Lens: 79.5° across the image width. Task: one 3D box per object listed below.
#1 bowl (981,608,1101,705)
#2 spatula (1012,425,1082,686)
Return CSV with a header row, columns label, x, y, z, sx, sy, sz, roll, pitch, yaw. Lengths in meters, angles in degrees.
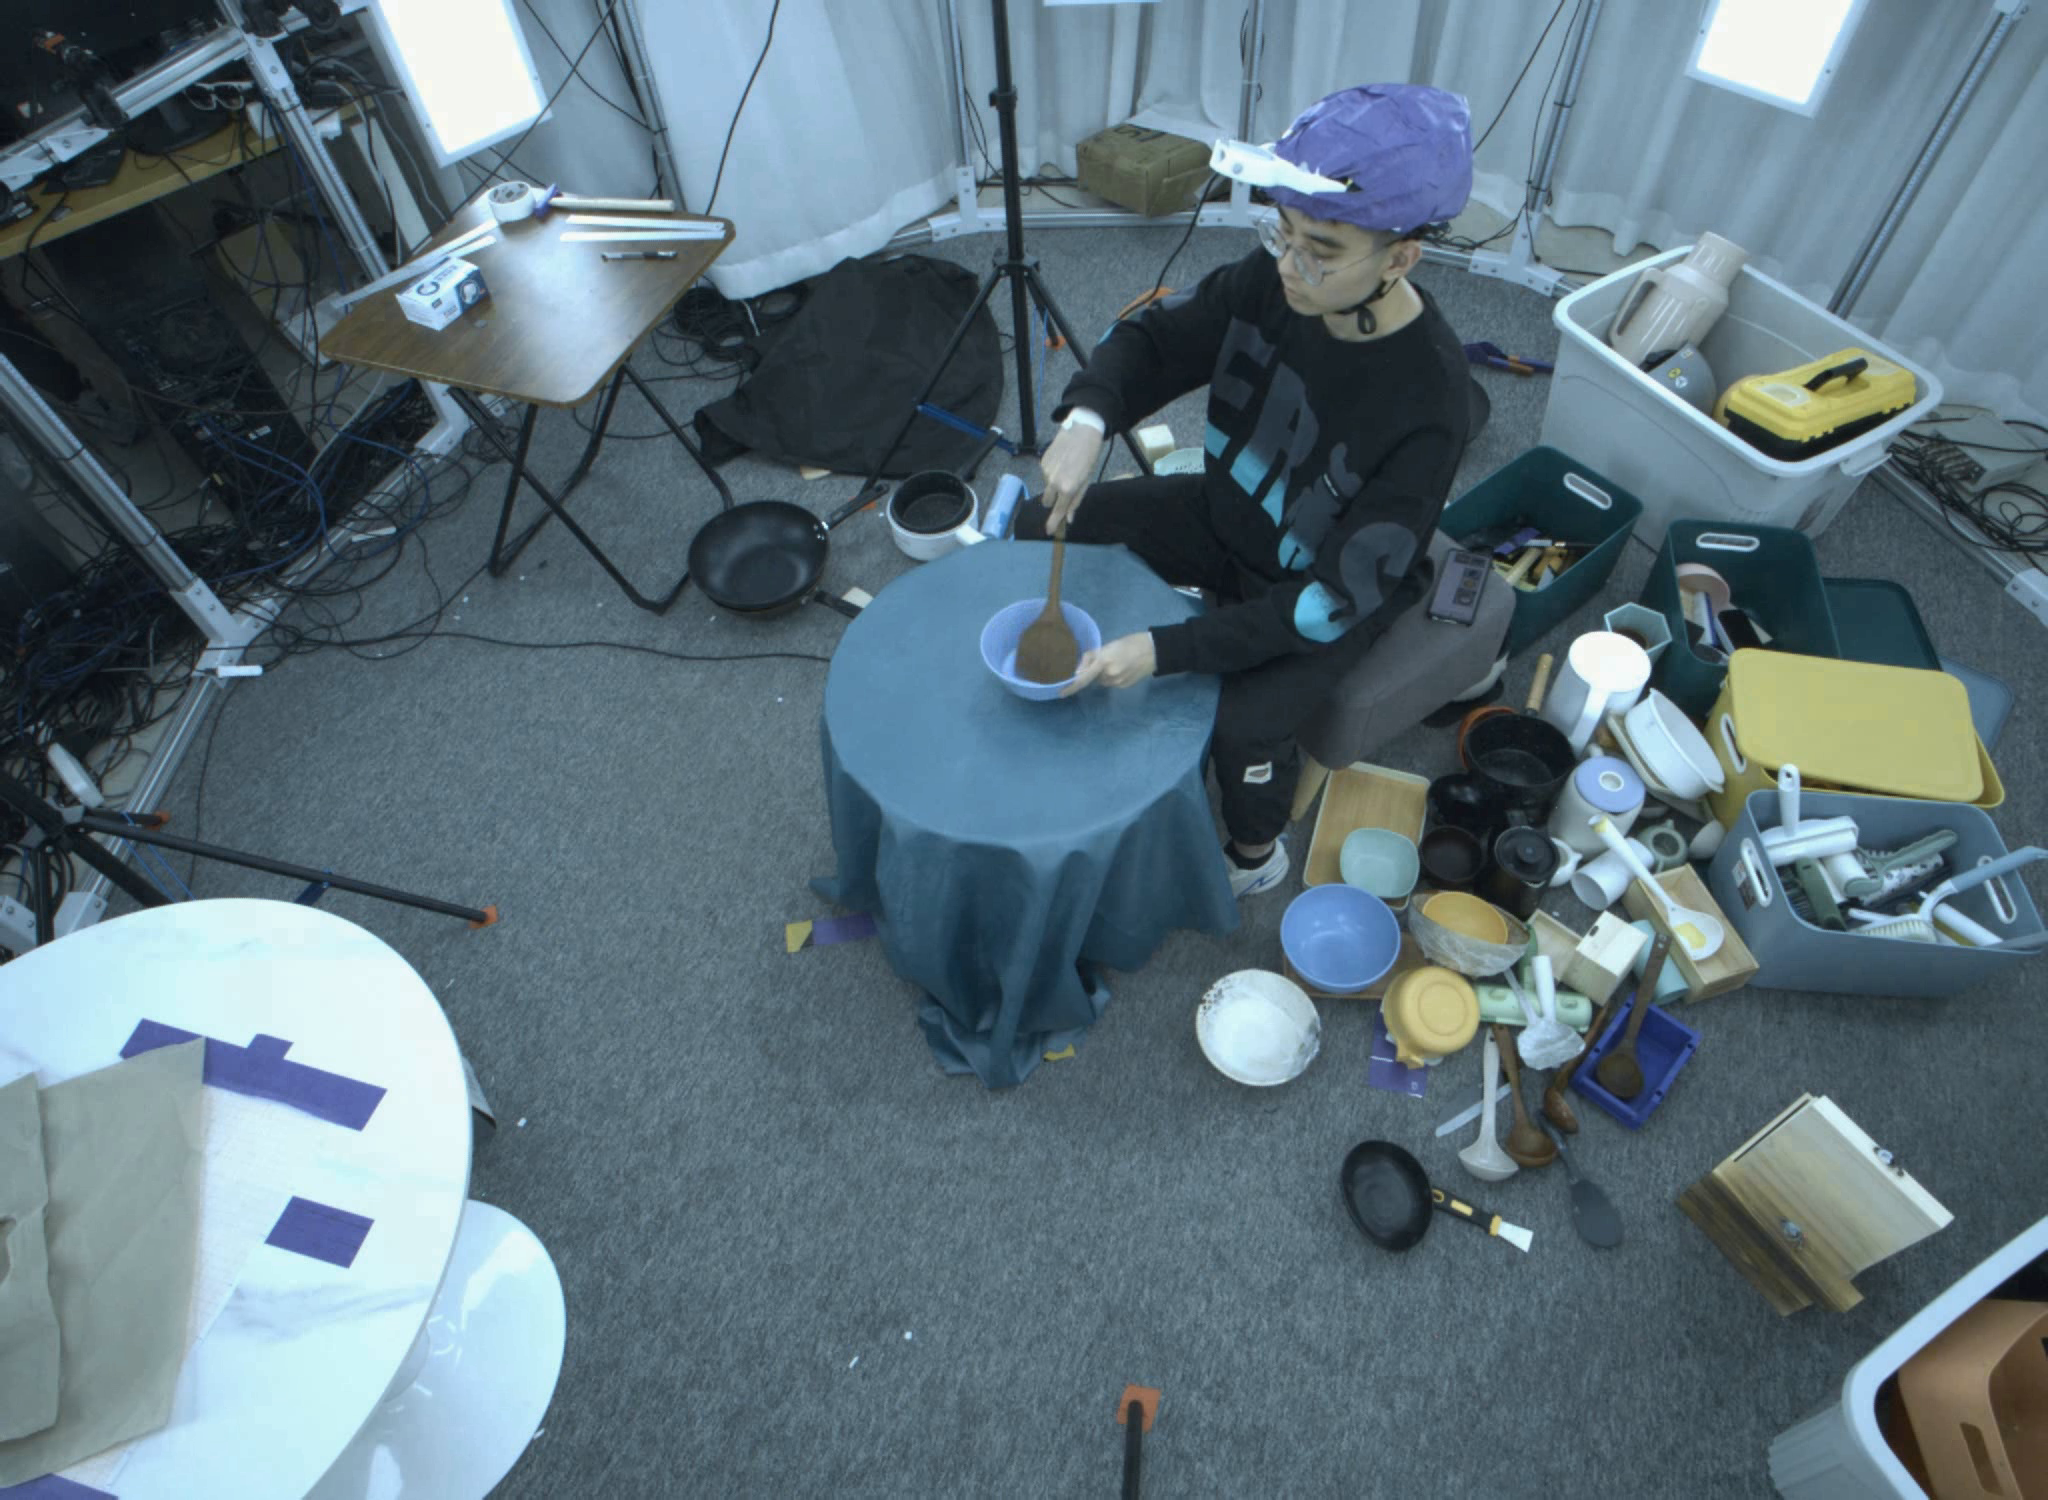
label,x,y,z,sx,sy,sz,roll,pitch,yaw
bowl,0.026,-0.130,1.822,0.176,0.071,0.174,-1,48,2
spatula,0.047,-0.283,1.791,0.095,0.387,0.016,9,12,10
